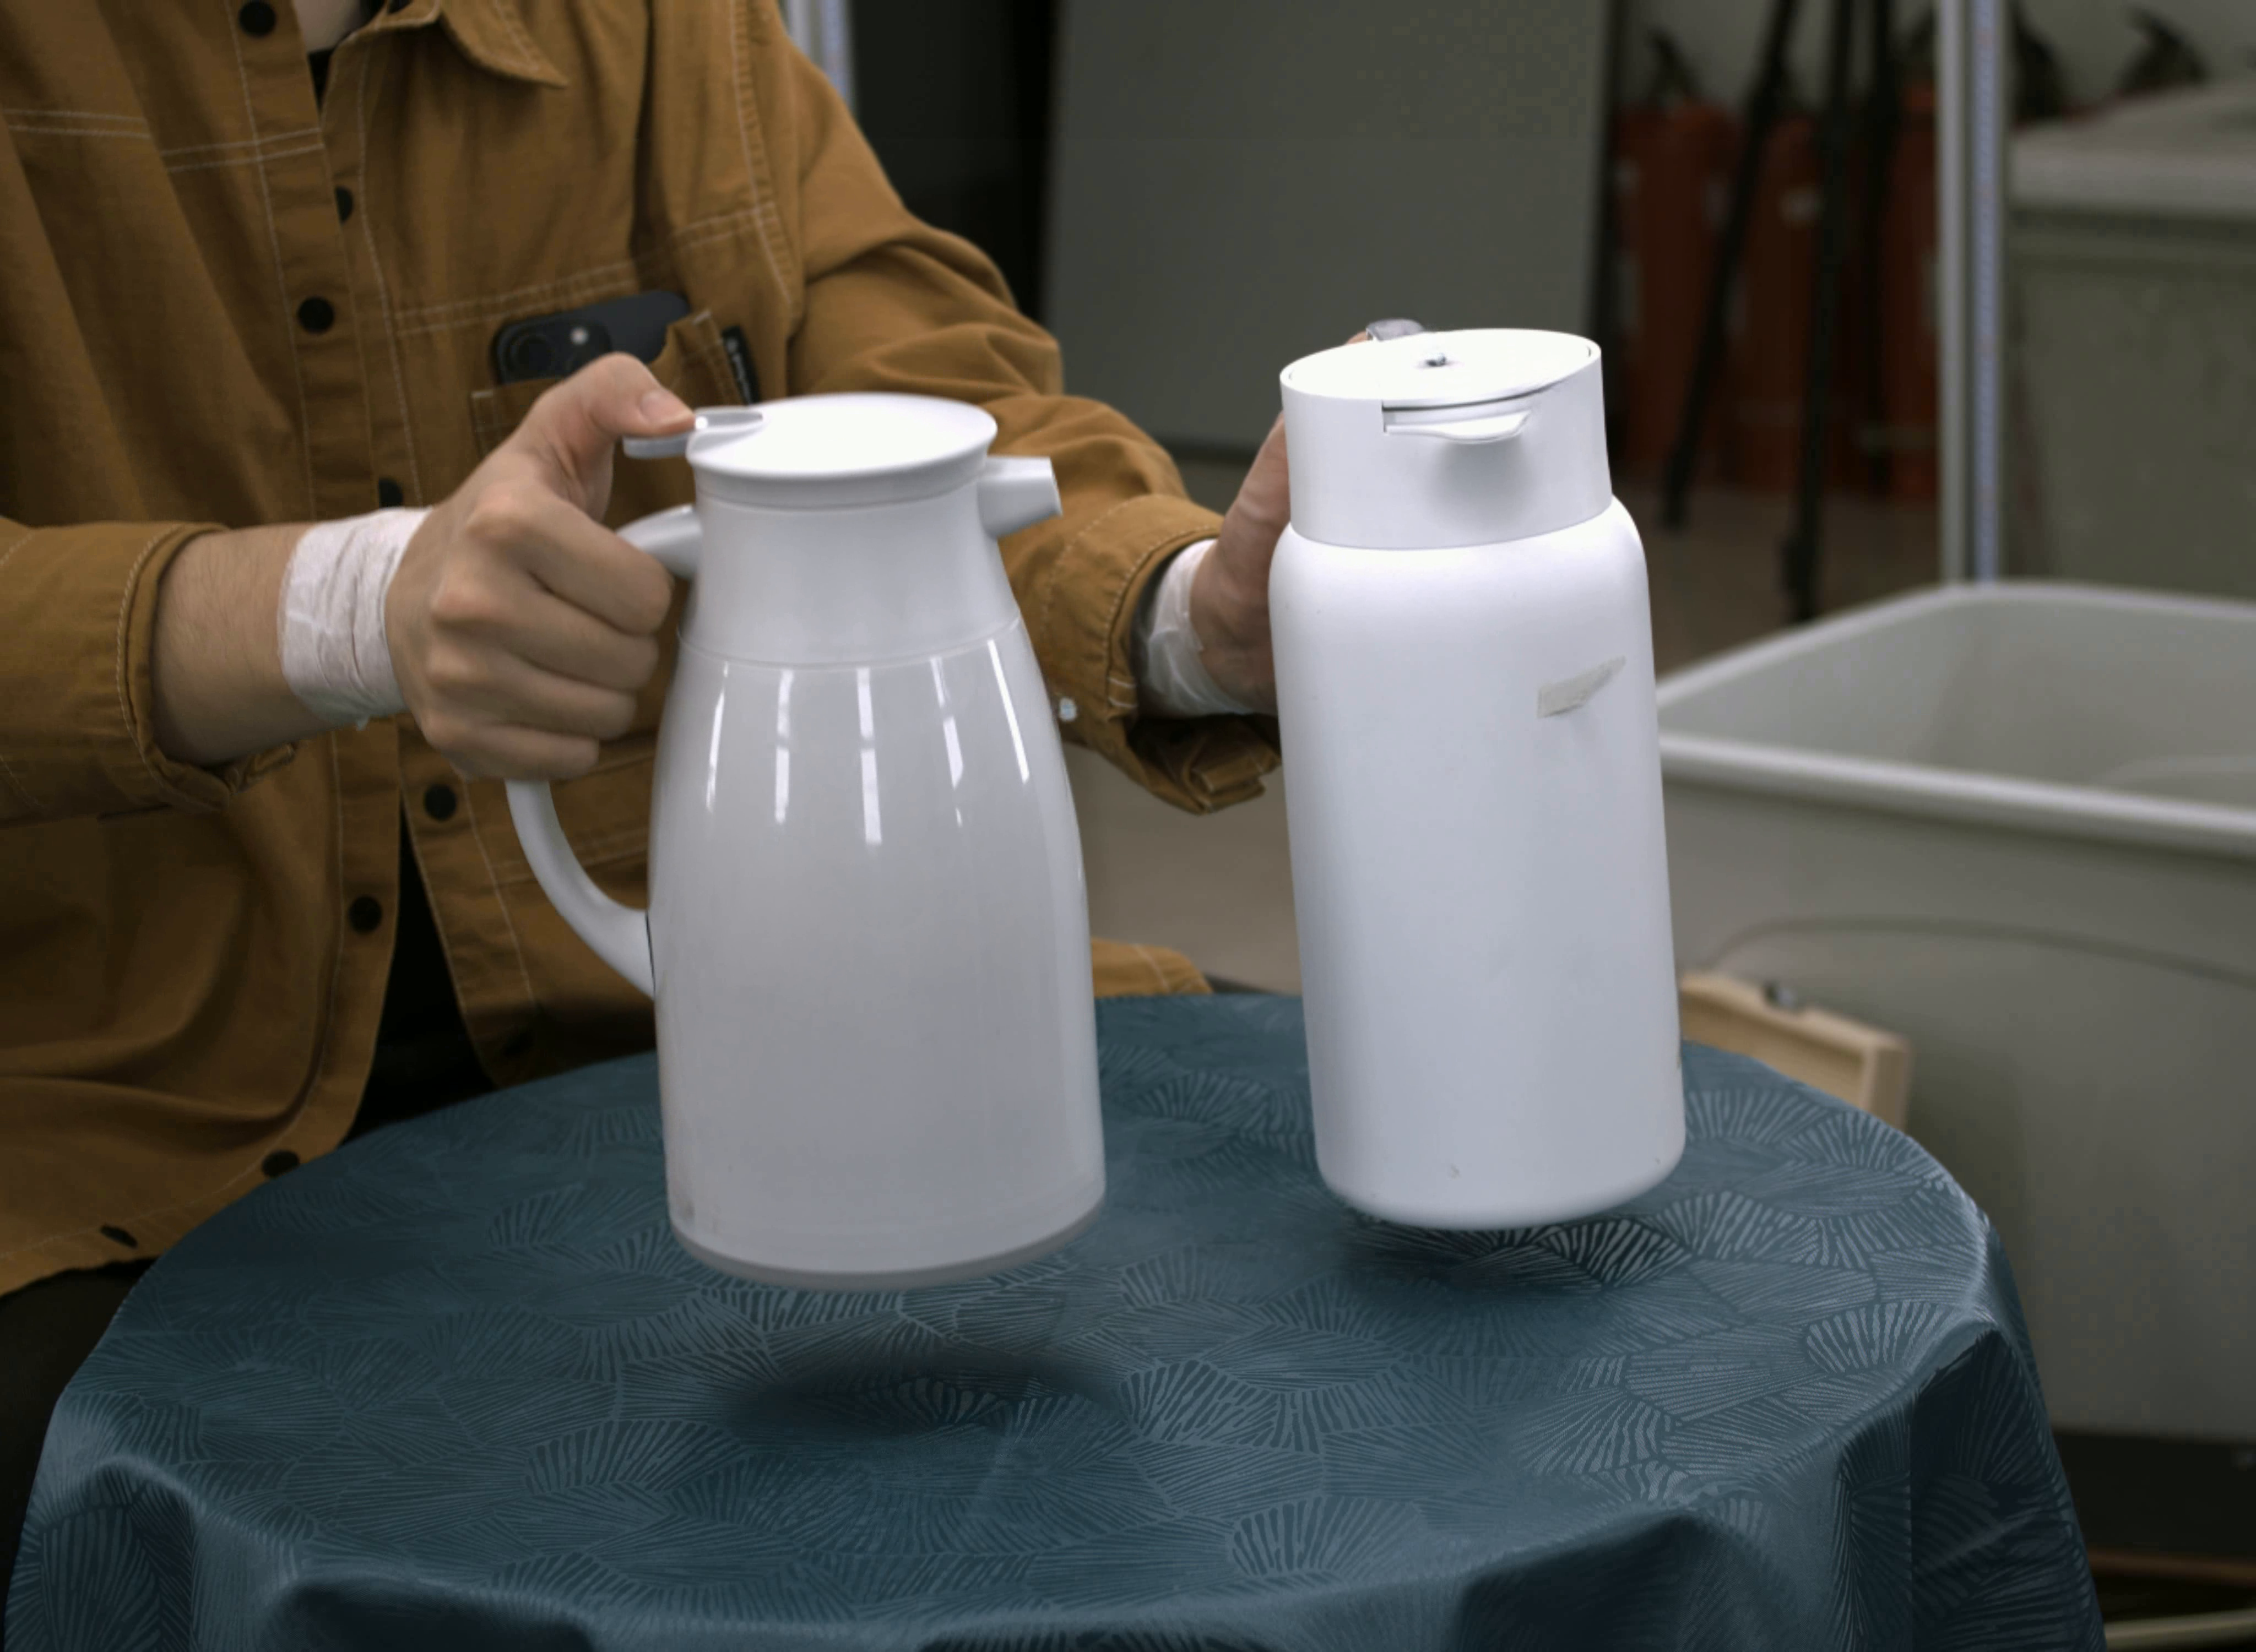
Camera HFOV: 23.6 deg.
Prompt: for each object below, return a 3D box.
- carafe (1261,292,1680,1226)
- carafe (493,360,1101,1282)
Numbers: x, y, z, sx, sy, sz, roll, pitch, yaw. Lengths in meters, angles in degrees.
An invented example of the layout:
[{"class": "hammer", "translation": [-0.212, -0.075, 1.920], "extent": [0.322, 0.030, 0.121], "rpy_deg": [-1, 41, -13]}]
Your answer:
[{"class": "carafe", "translation": [0.100, -0.024, 1.675], "extent": [0.122, 0.271, 0.174], "rpy_deg": [-10, 15, -7]}, {"class": "carafe", "translation": [-0.098, -0.006, 1.567], "extent": [0.165, 0.251, 0.133], "rpy_deg": [-5, 17, -1]}]
